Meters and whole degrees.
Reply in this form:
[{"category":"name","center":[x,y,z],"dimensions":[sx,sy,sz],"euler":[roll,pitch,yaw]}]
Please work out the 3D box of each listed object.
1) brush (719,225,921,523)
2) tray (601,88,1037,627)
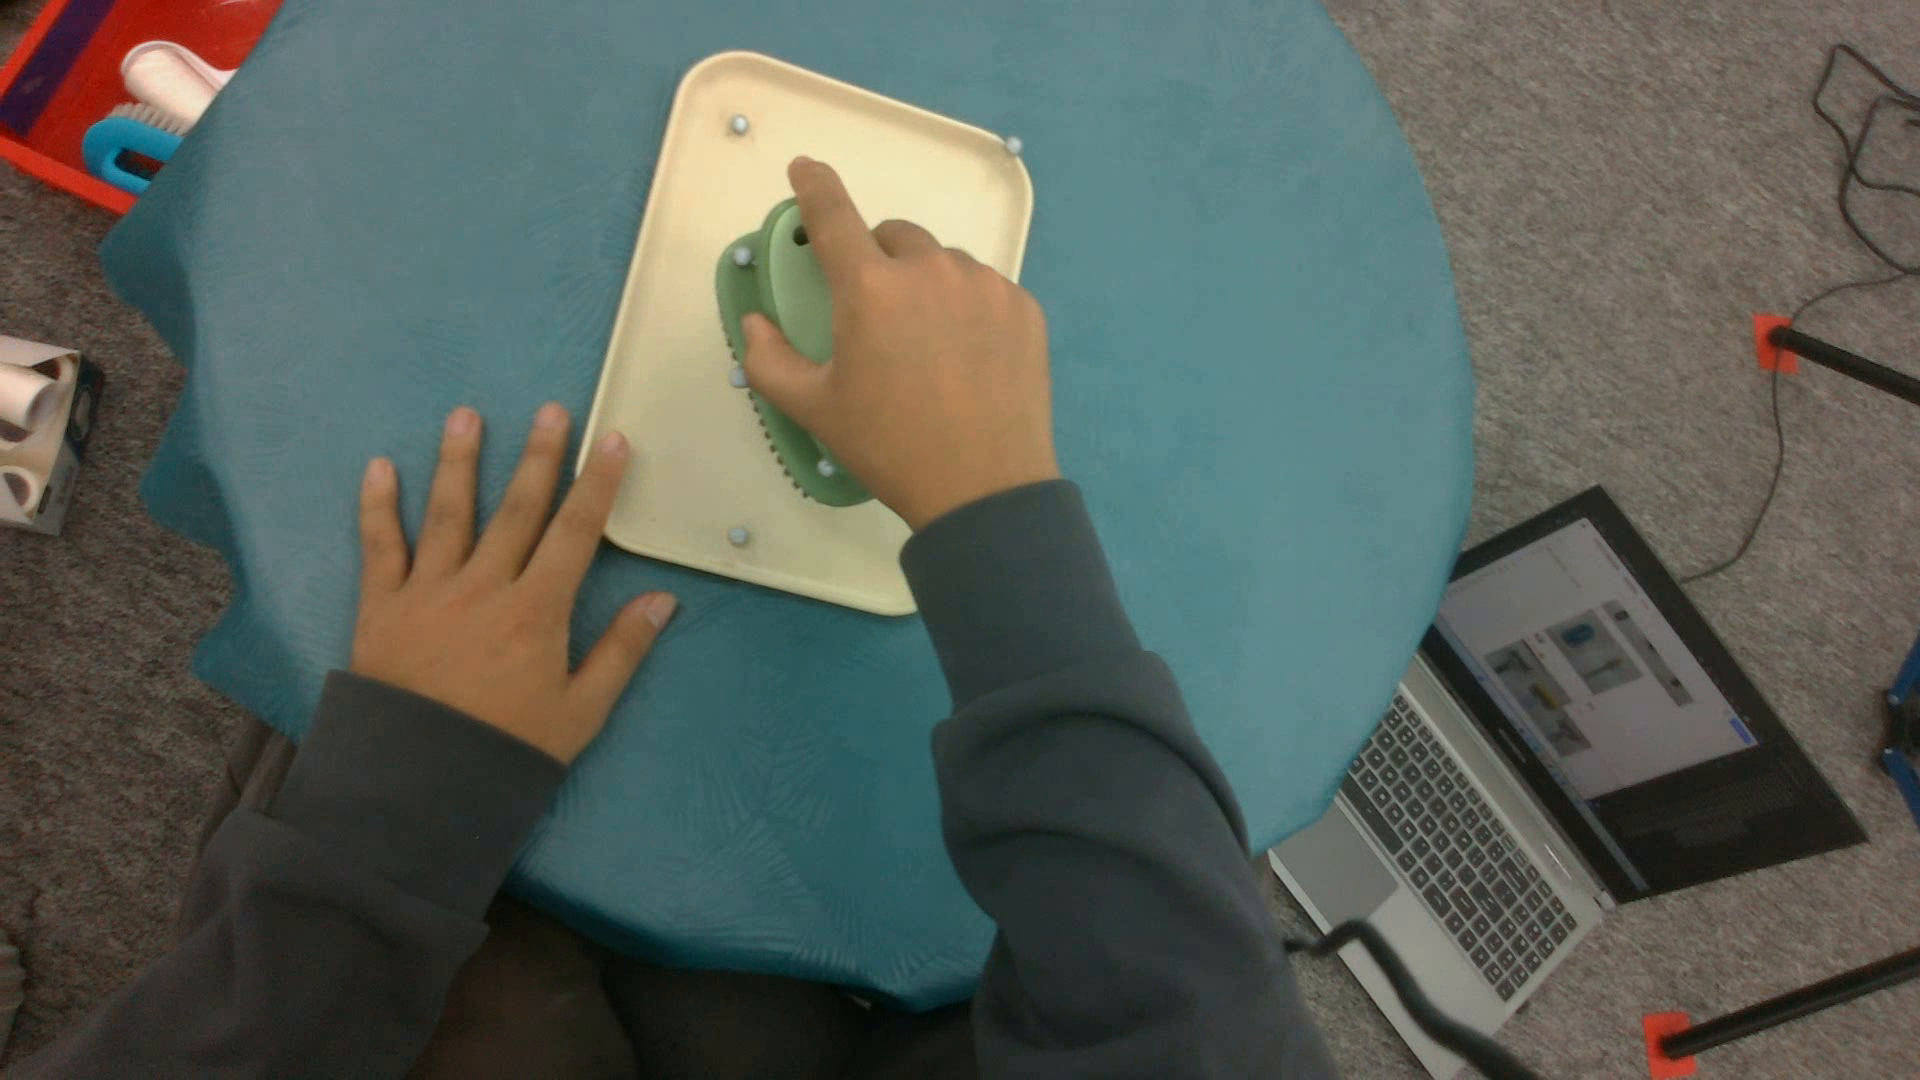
[{"category":"brush","center":[-0.059,-0.067,0.578],"dimensions":[0.060,0.075,0.123],"euler":[-26,104,-23]},{"category":"tray","center":[-0.060,-0.086,0.639],"dimensions":[0.171,0.017,0.240],"euler":[13,76,-10]}]
